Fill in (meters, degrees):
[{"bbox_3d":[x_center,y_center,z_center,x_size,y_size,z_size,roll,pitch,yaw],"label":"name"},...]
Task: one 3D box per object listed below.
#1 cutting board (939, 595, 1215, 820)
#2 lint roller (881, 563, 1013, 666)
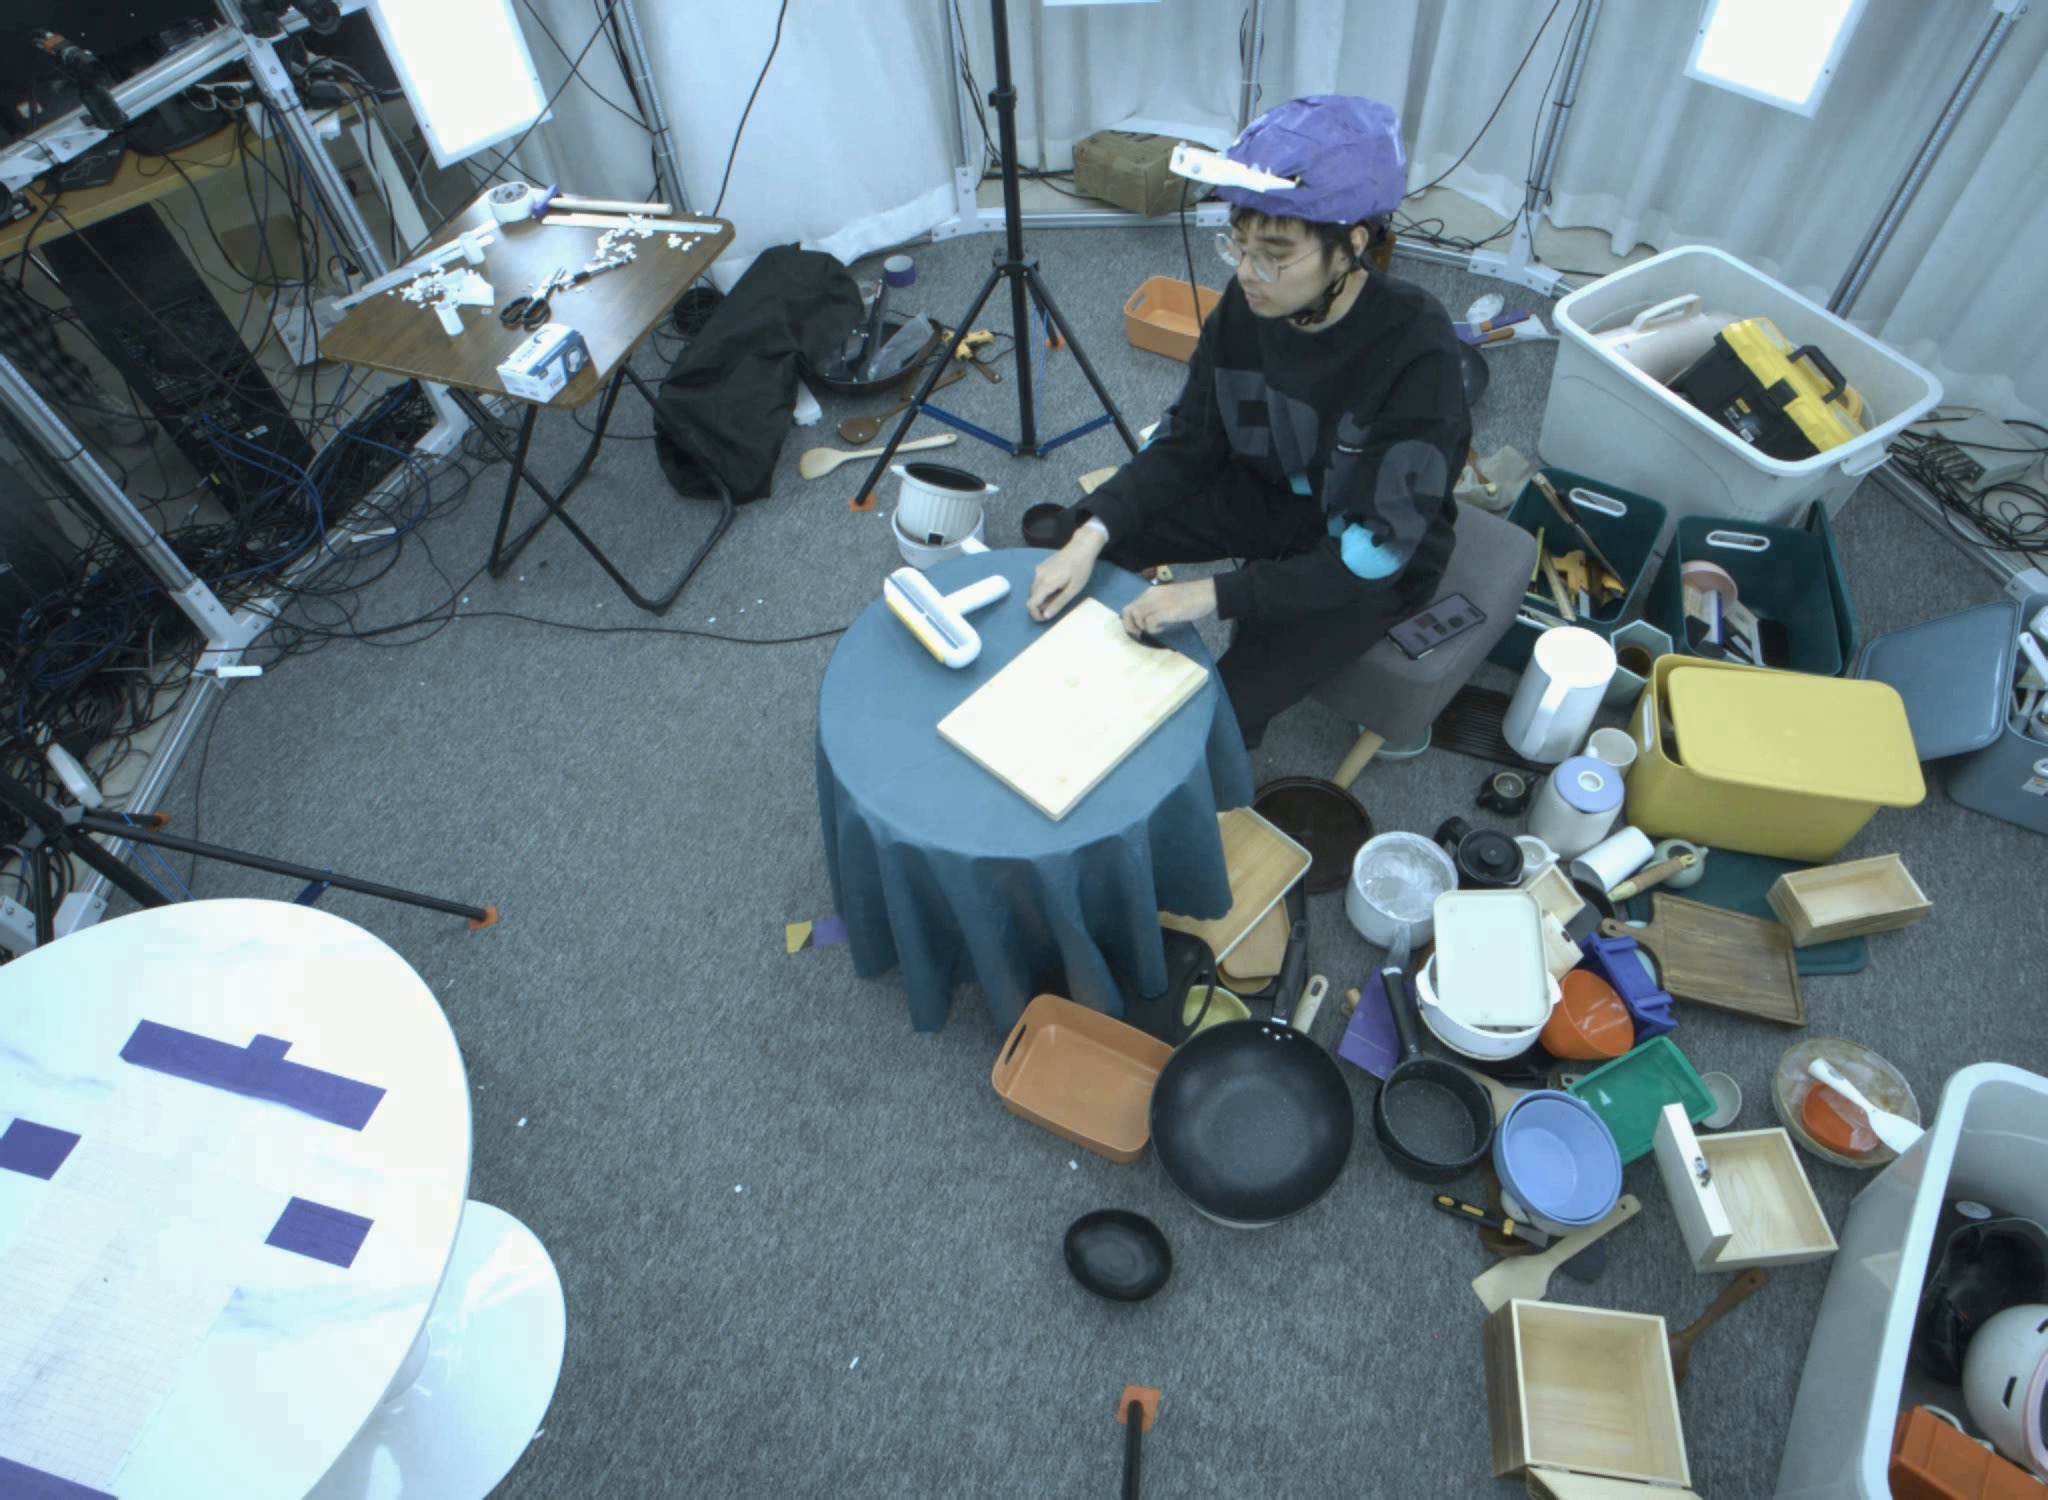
[{"bbox_3d":[0.078,-0.074,1.823,0.246,0.024,0.351,36,63,24],"label":"cutting board"},{"bbox_3d":[-0.100,-0.233,1.910,0.194,0.075,0.190,-31,64,-21],"label":"lint roller"}]
